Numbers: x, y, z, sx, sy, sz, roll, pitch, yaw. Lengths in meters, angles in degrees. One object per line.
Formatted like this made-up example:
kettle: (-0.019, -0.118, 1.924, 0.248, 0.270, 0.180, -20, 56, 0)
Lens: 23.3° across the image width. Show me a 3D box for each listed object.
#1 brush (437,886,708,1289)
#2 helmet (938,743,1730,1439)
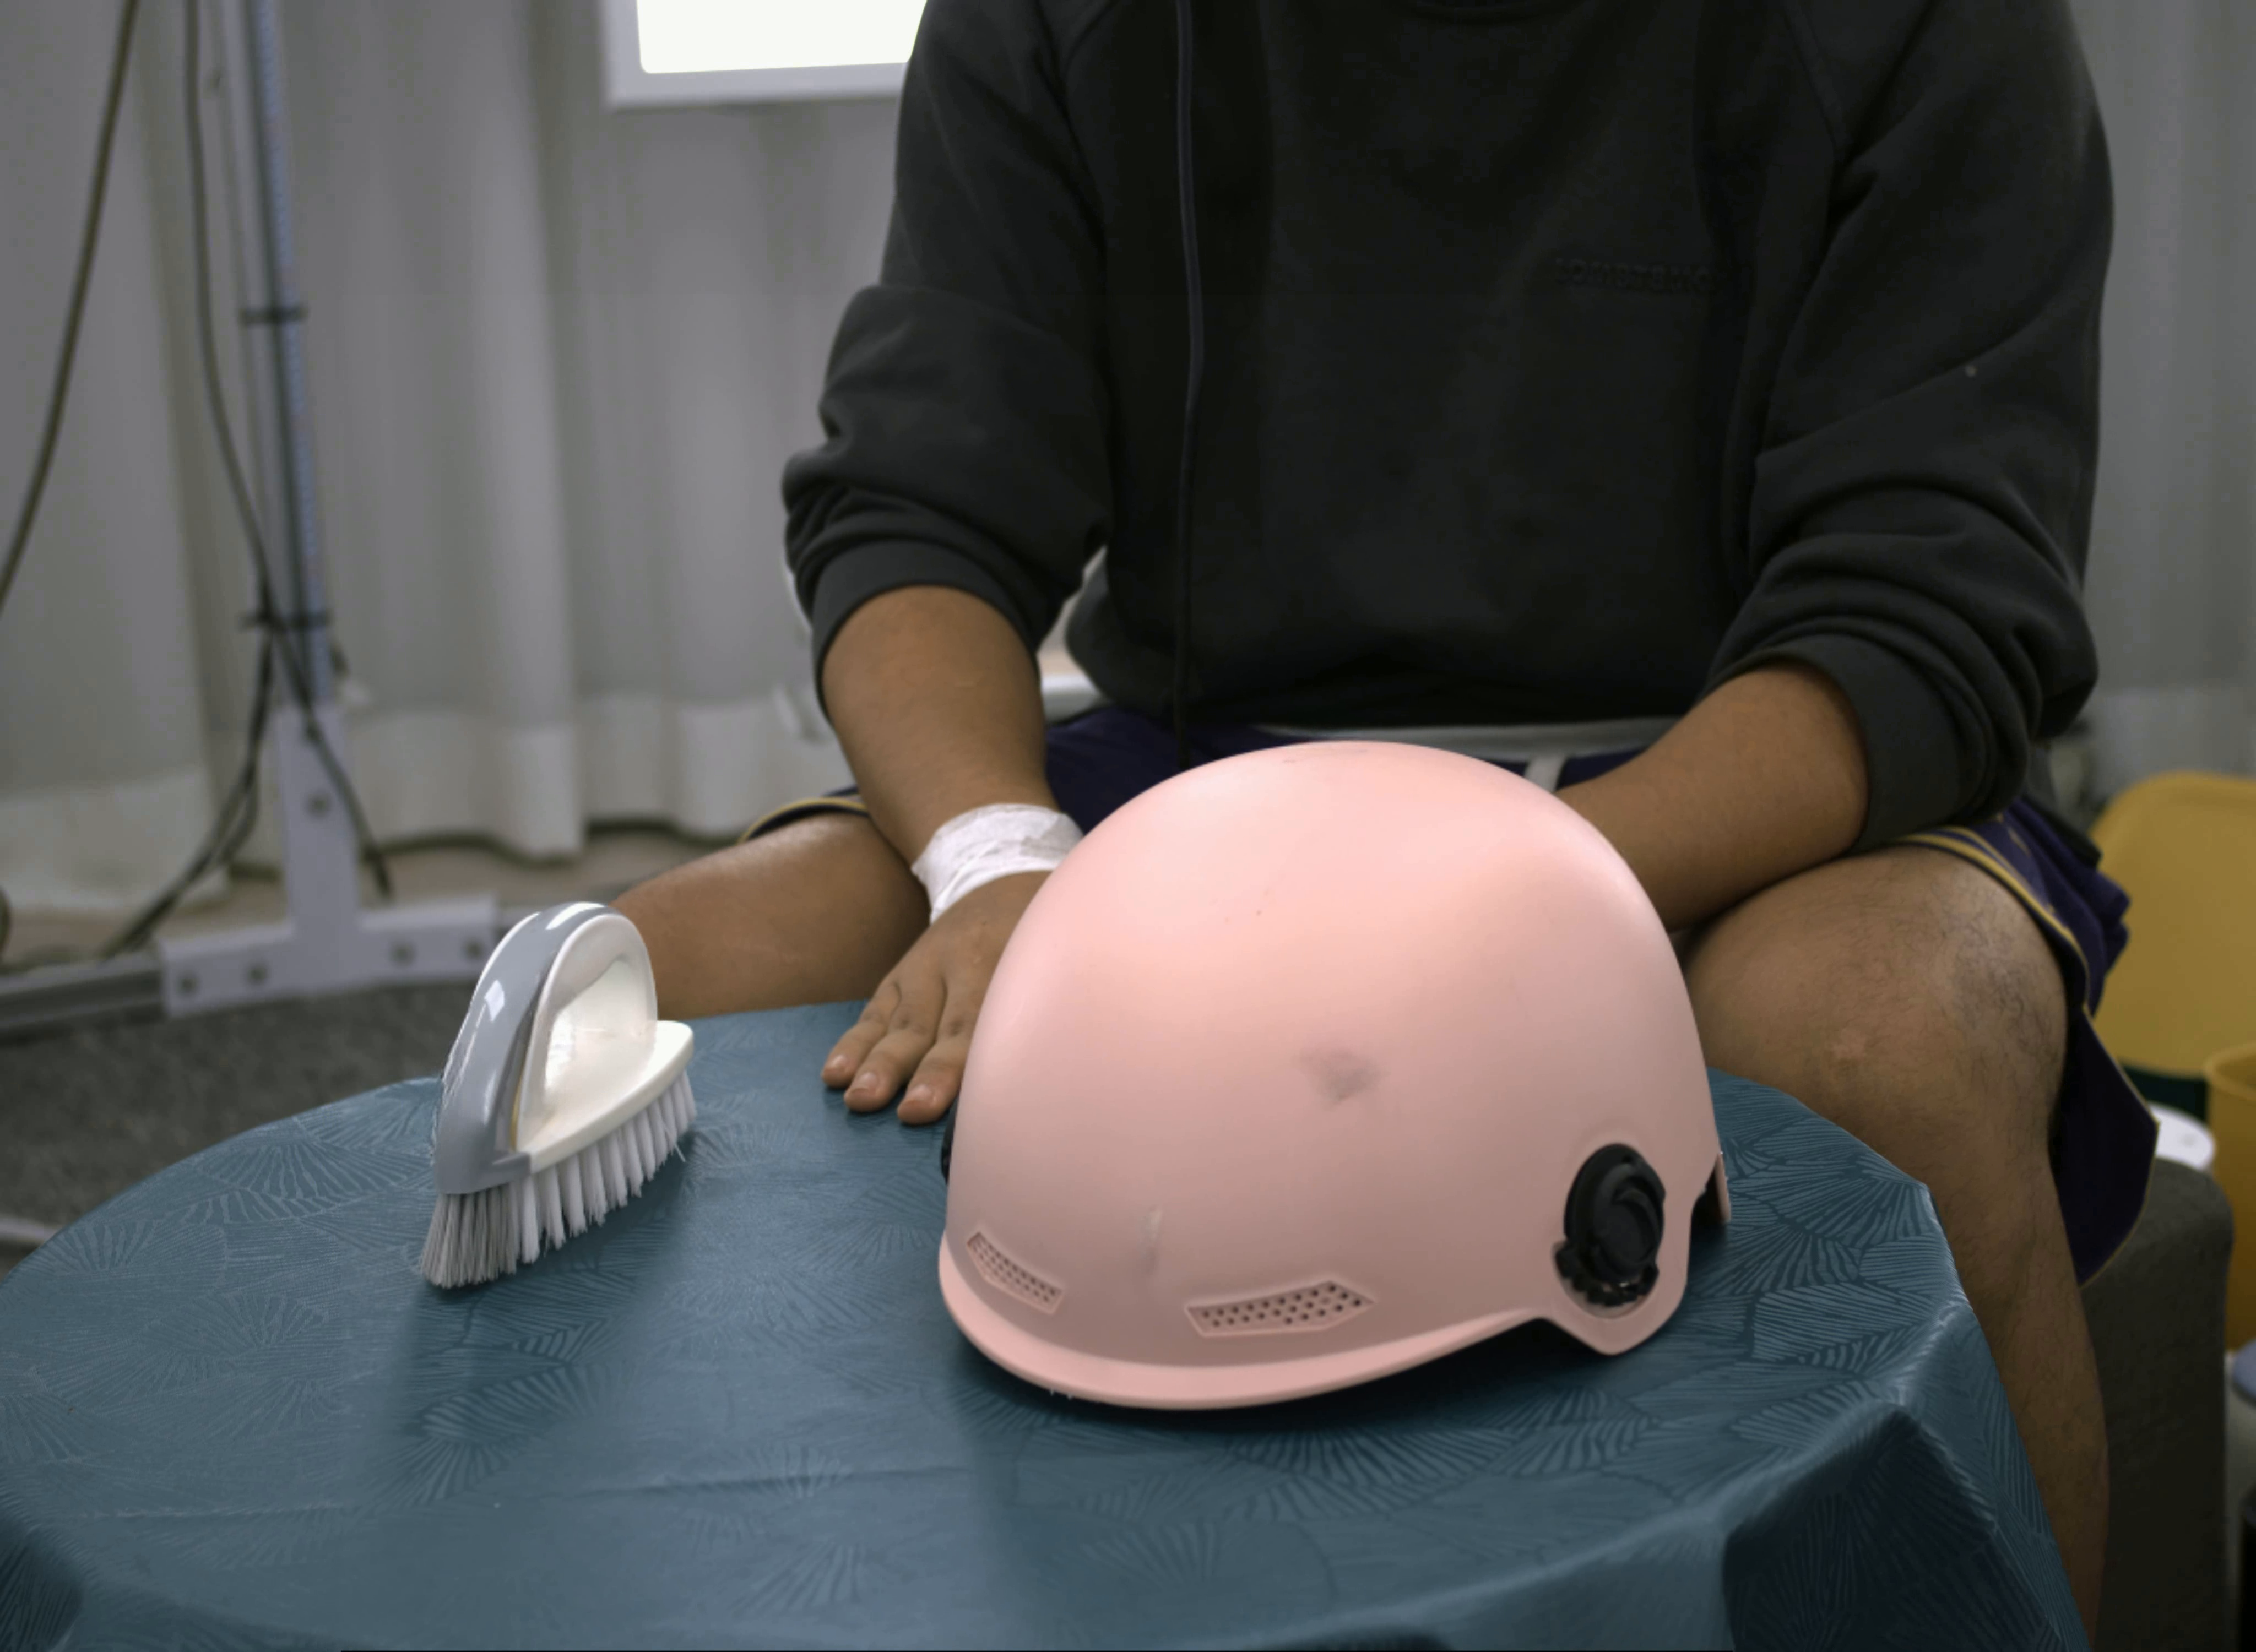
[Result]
brush: (-0.183, 0.076, 1.720, 0.061, 0.094, 0.176, 0, 17, 14)
helmet: (0.056, 0.063, 1.609, 0.234, 0.158, 0.266, 6, 21, 29)
